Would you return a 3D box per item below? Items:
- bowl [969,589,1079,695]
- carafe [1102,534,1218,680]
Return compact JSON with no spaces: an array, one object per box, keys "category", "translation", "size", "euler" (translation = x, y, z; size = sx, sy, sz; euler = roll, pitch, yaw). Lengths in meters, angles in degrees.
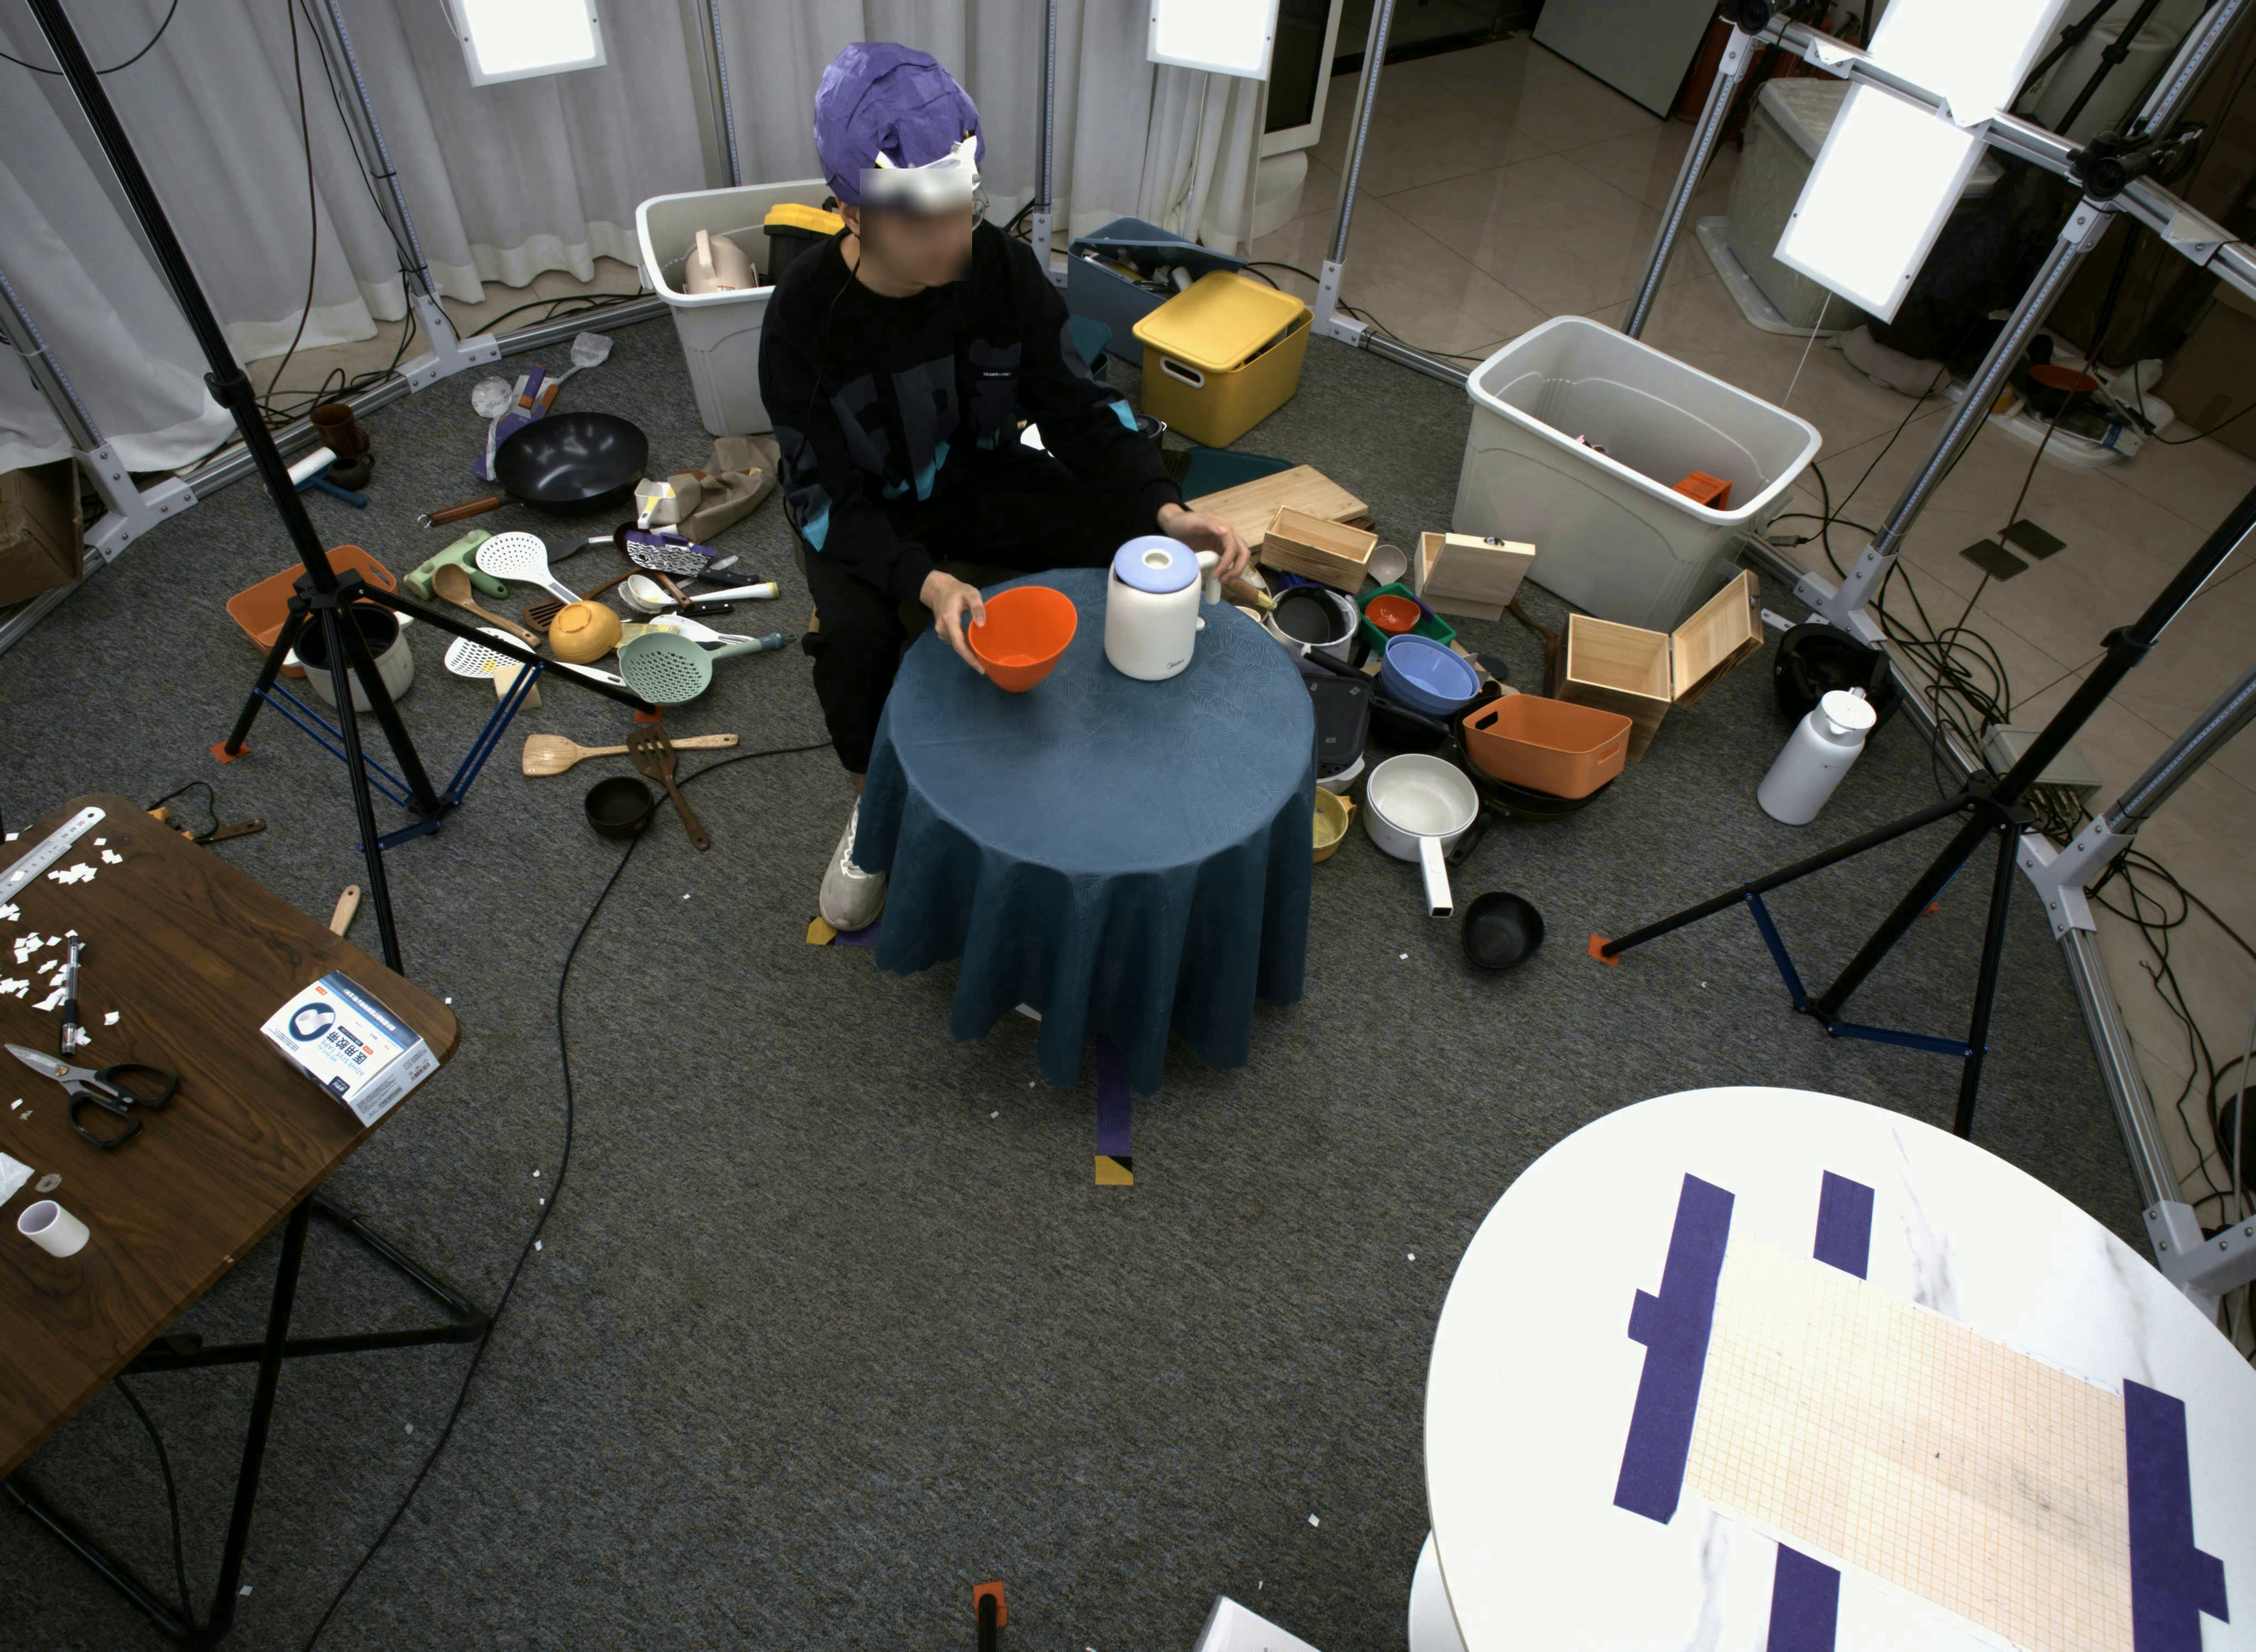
[{"category":"bowl","translation":[-0.142,-0.243,1.771],"size":[0.148,0.102,0.152],"euler":[2,51,-2]},{"category":"carafe","translation":[0.053,-0.320,1.839],"size":[0.192,0.178,0.135],"euler":[-25,57,-26]}]
